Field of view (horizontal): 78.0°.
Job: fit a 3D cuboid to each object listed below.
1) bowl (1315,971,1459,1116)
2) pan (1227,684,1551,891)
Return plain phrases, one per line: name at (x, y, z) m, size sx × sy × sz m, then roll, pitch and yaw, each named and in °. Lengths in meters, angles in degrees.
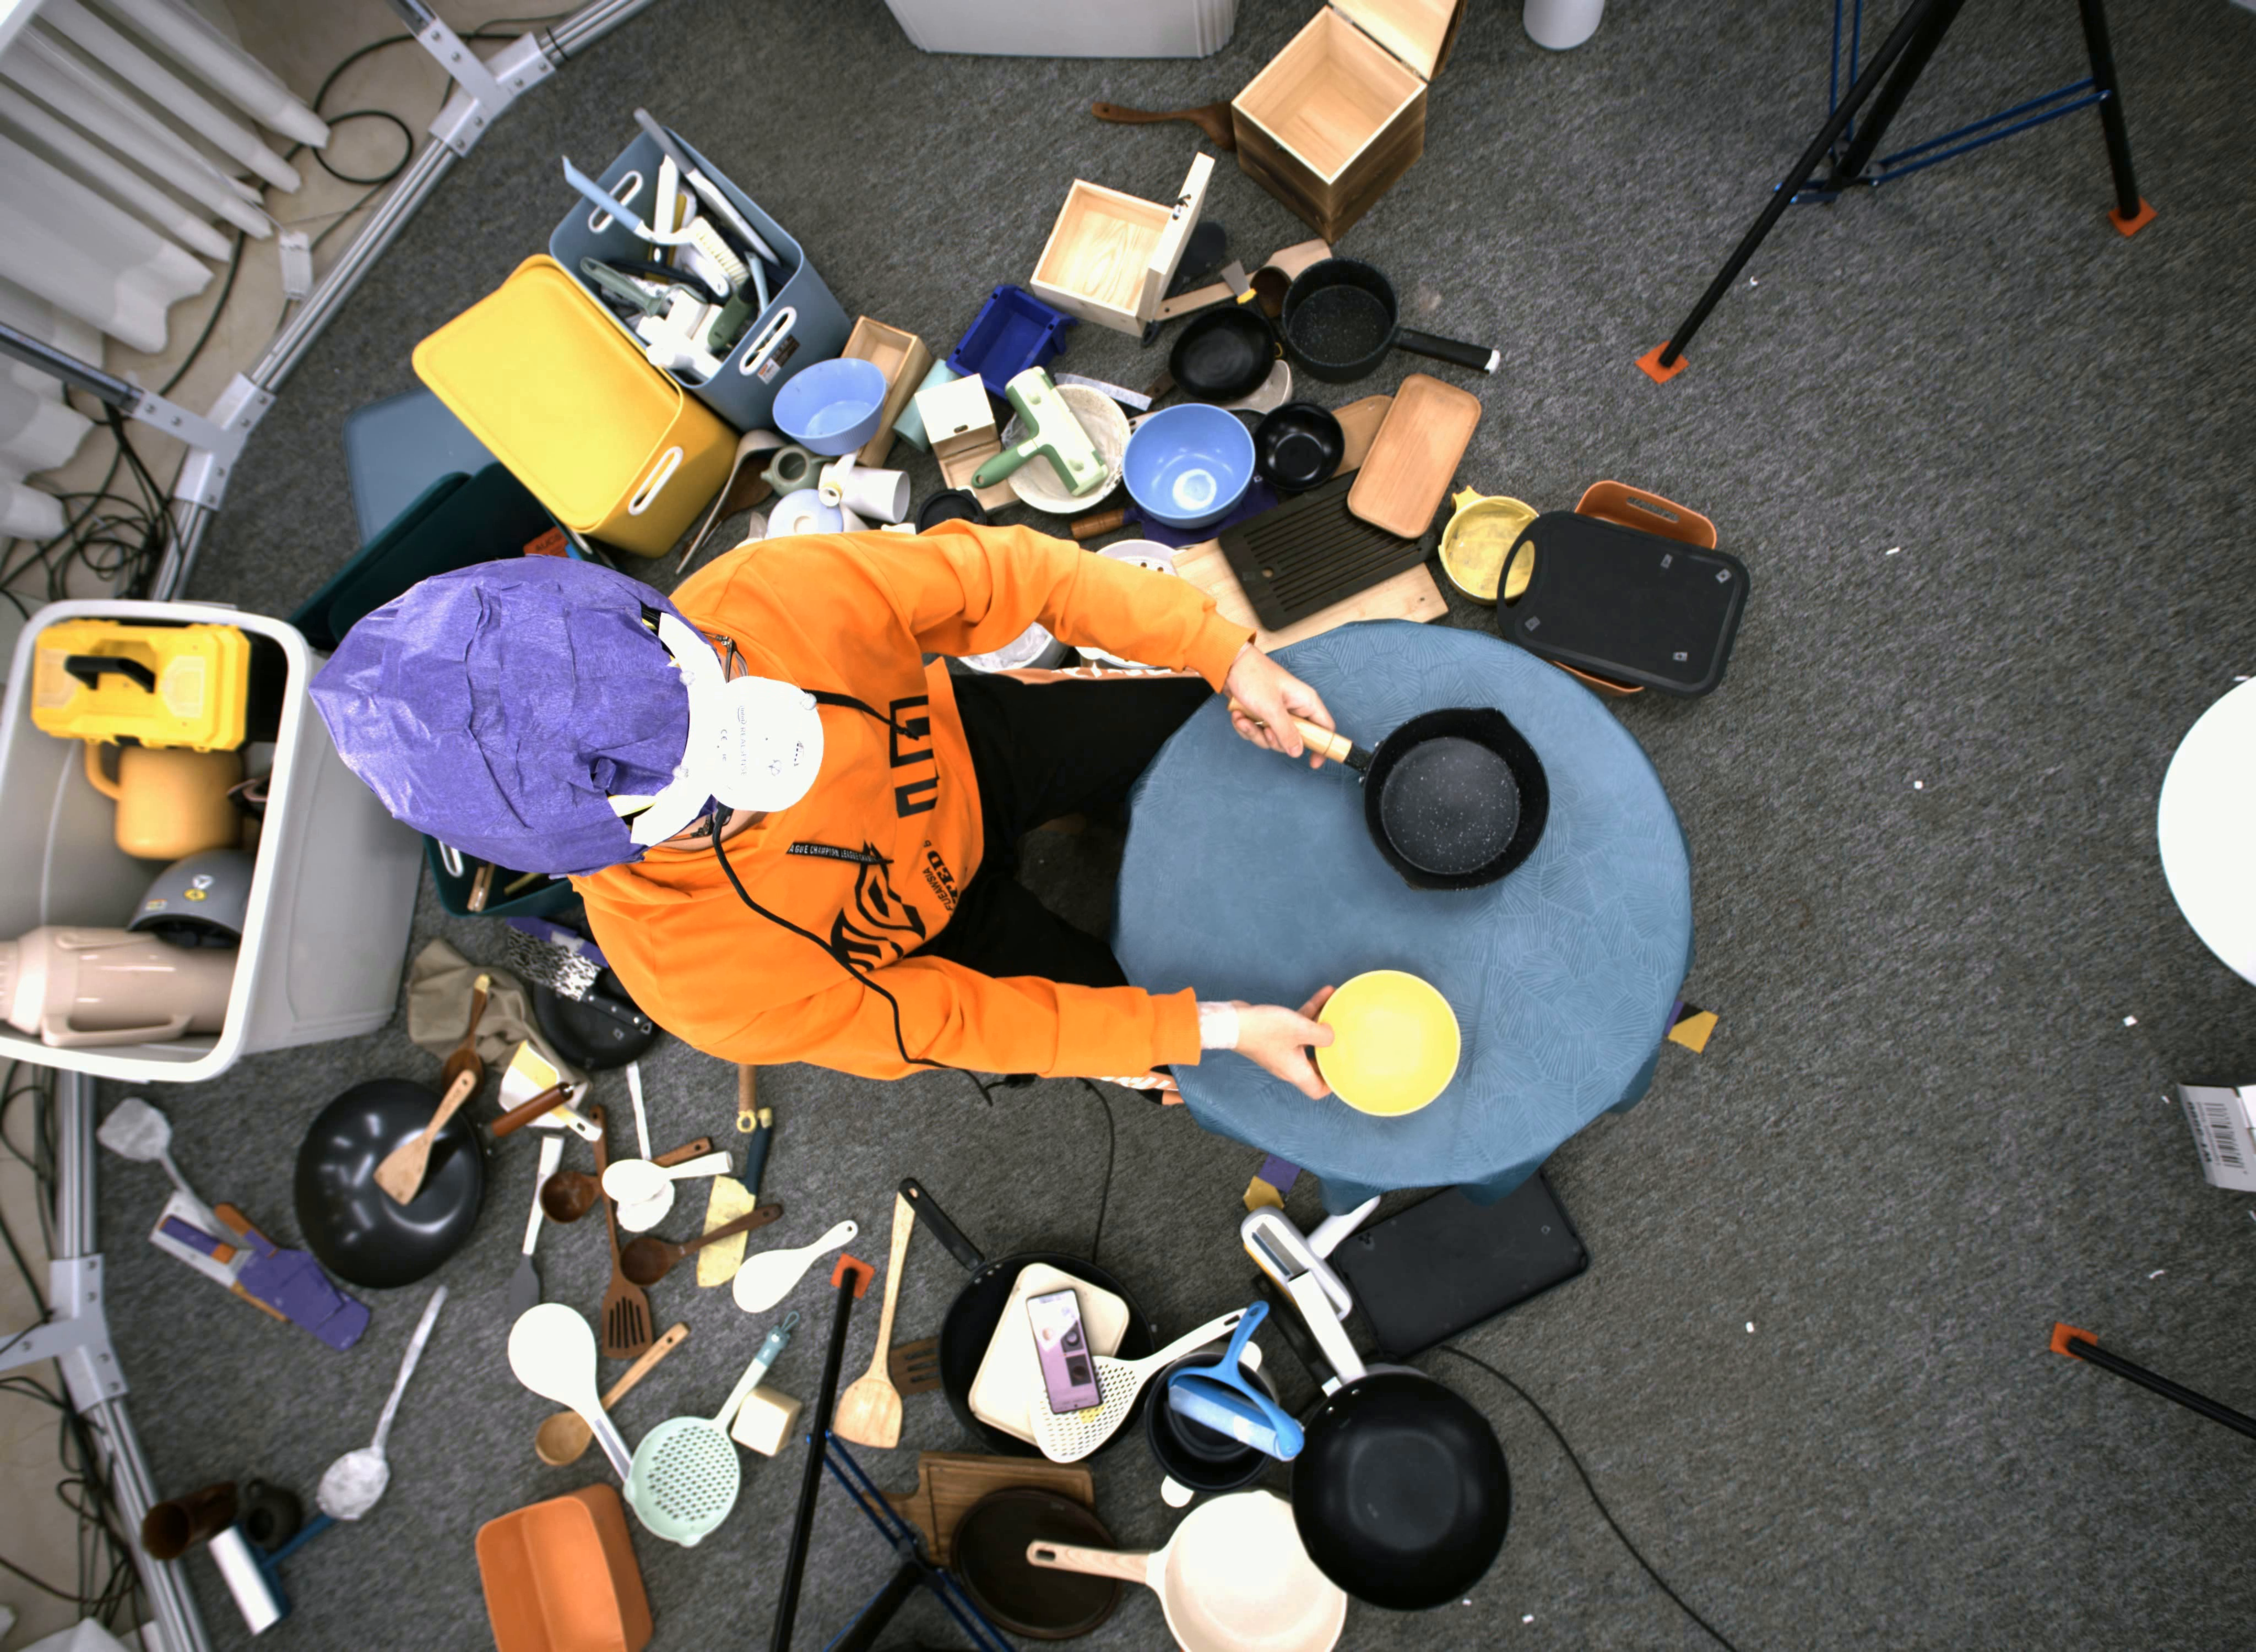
bowl at (0.263, 0.221, 1.416) m, size 0.146 × 0.060 × 0.144 m, roll -1°, pitch 82°, yaw 7°
pan at (0.260, -0.059, 1.411) m, size 0.343 × 0.108 × 0.208 m, roll 24°, pitch 93°, yaw 8°
